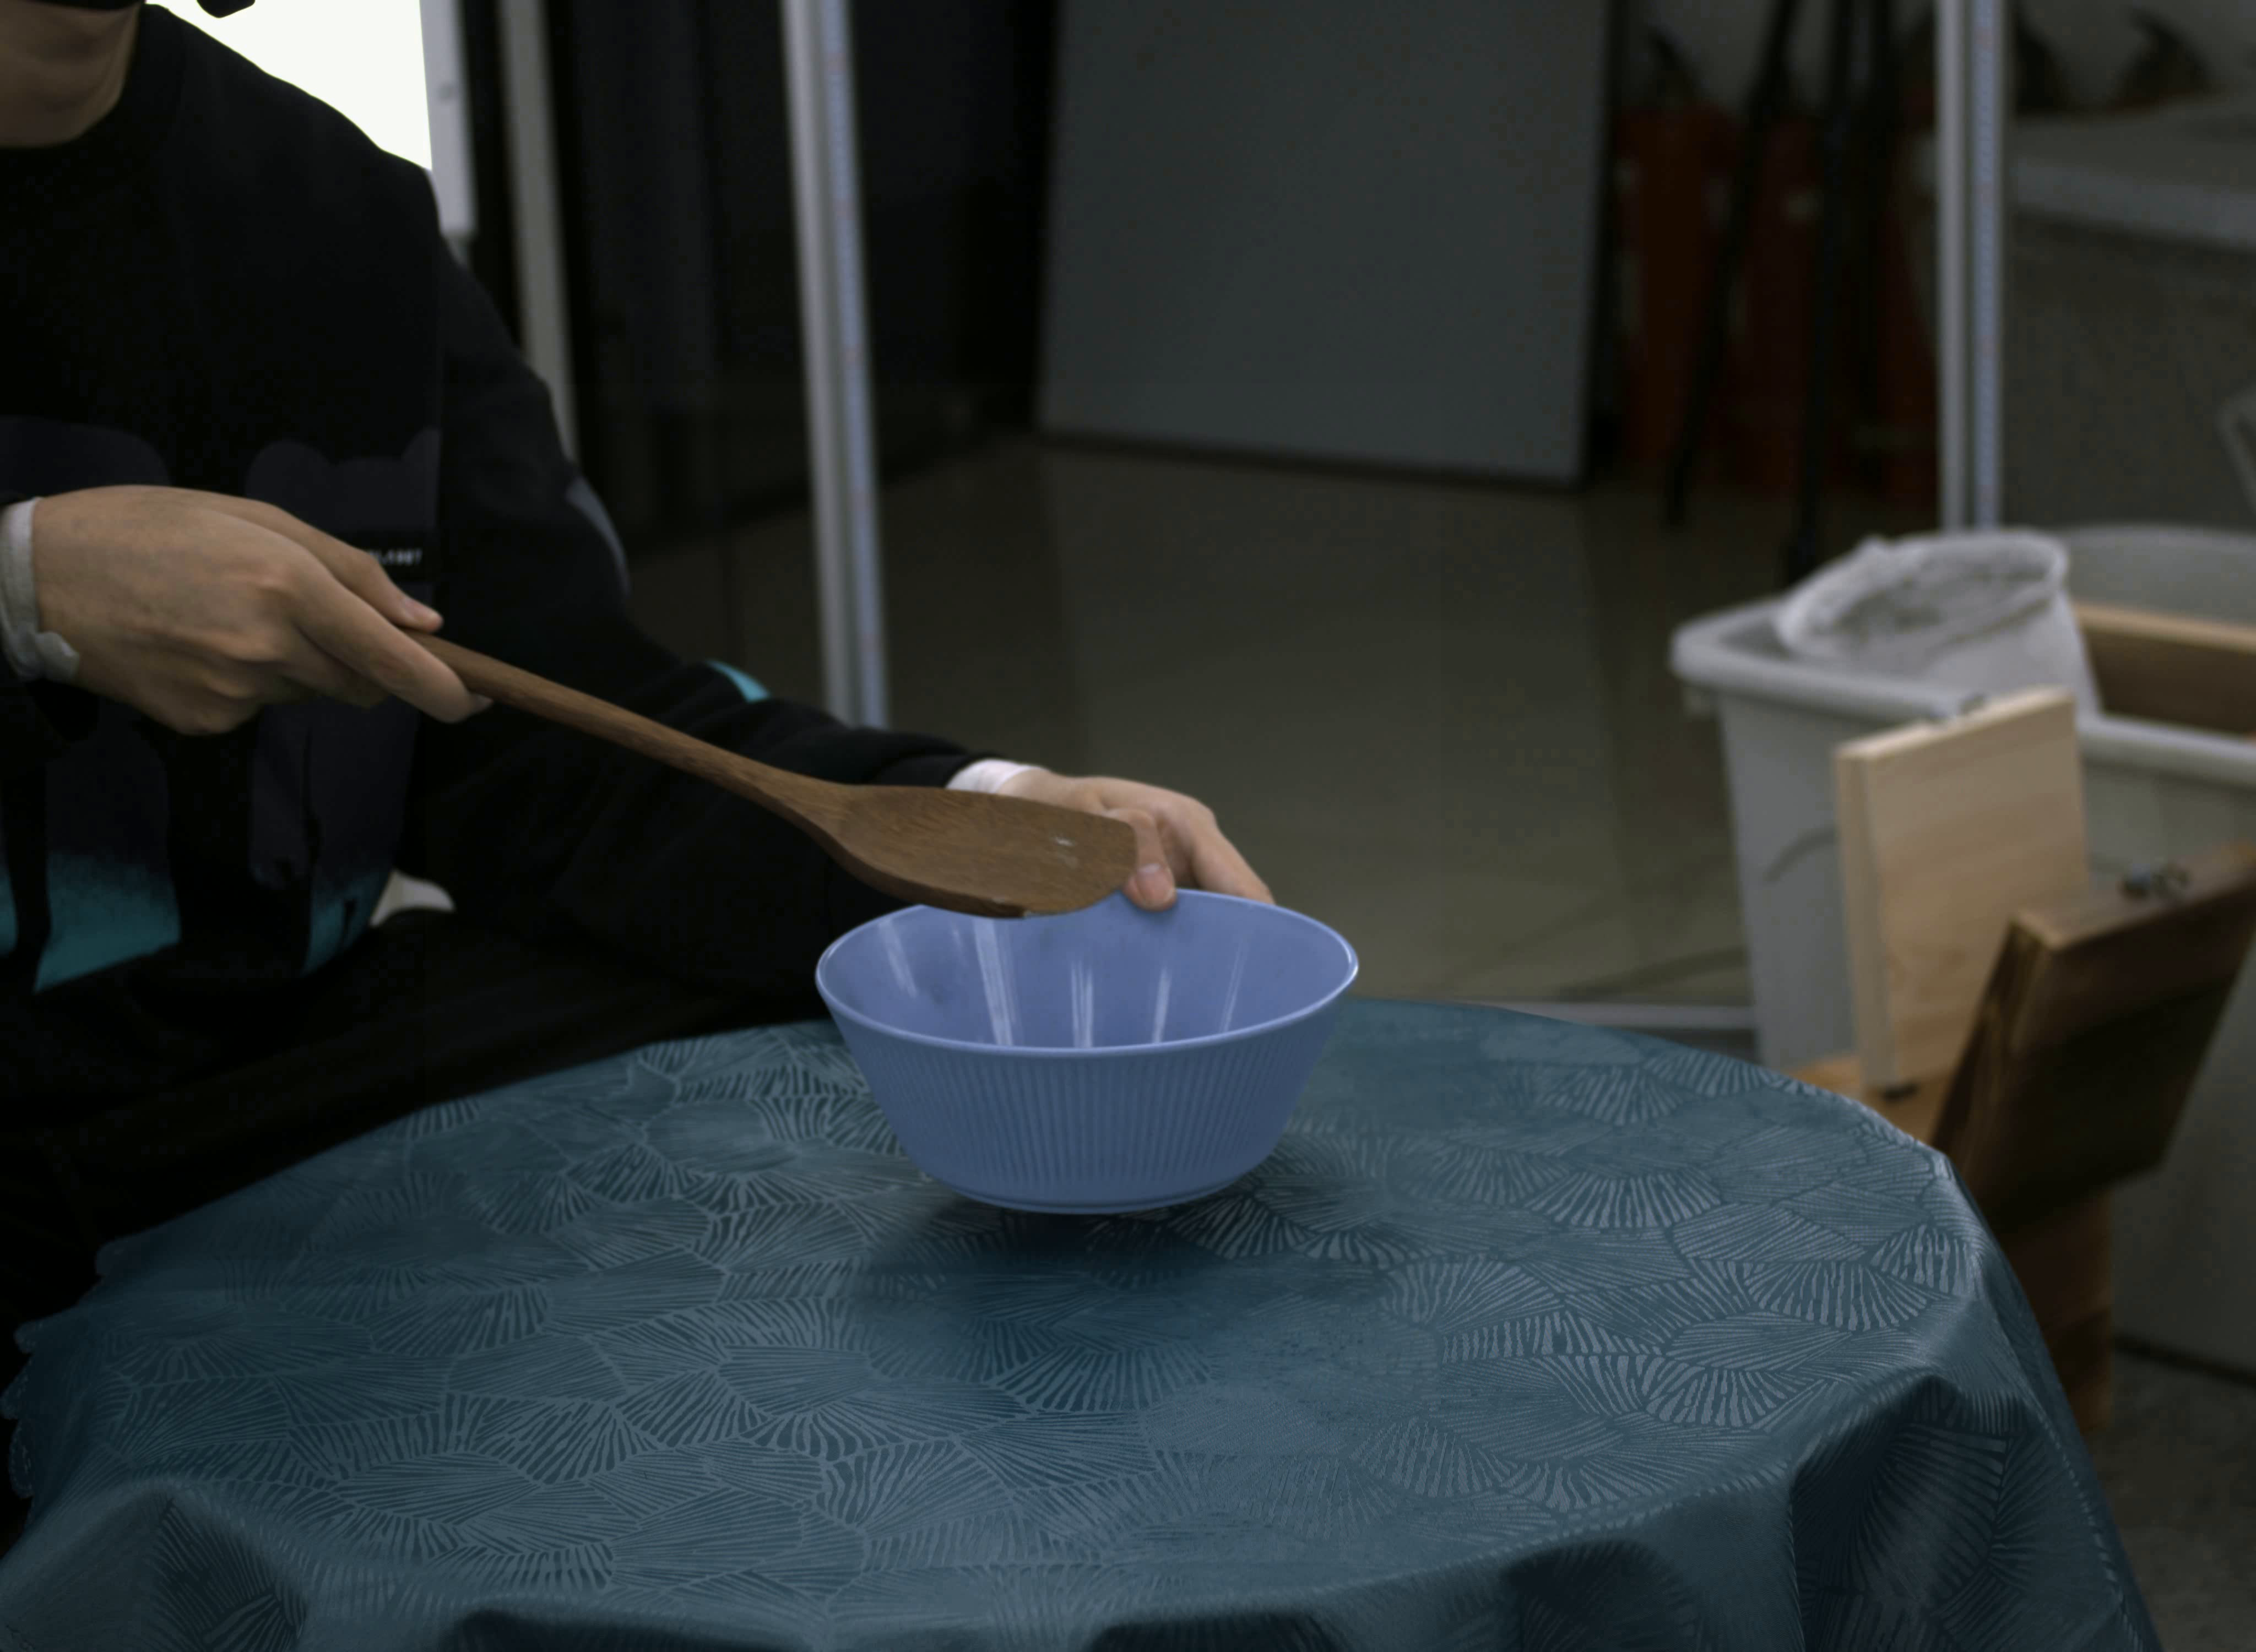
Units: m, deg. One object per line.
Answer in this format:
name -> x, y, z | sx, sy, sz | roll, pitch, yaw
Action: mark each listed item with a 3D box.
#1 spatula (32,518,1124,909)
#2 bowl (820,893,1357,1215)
spatula -> -0.182, -0.040, 1.735 | 0.385, 0.016, 0.095 | 19, 23, 15
bowl -> -0.011, 0.076, 1.740 | 0.174, 0.071, 0.176 | -2, 14, 0
